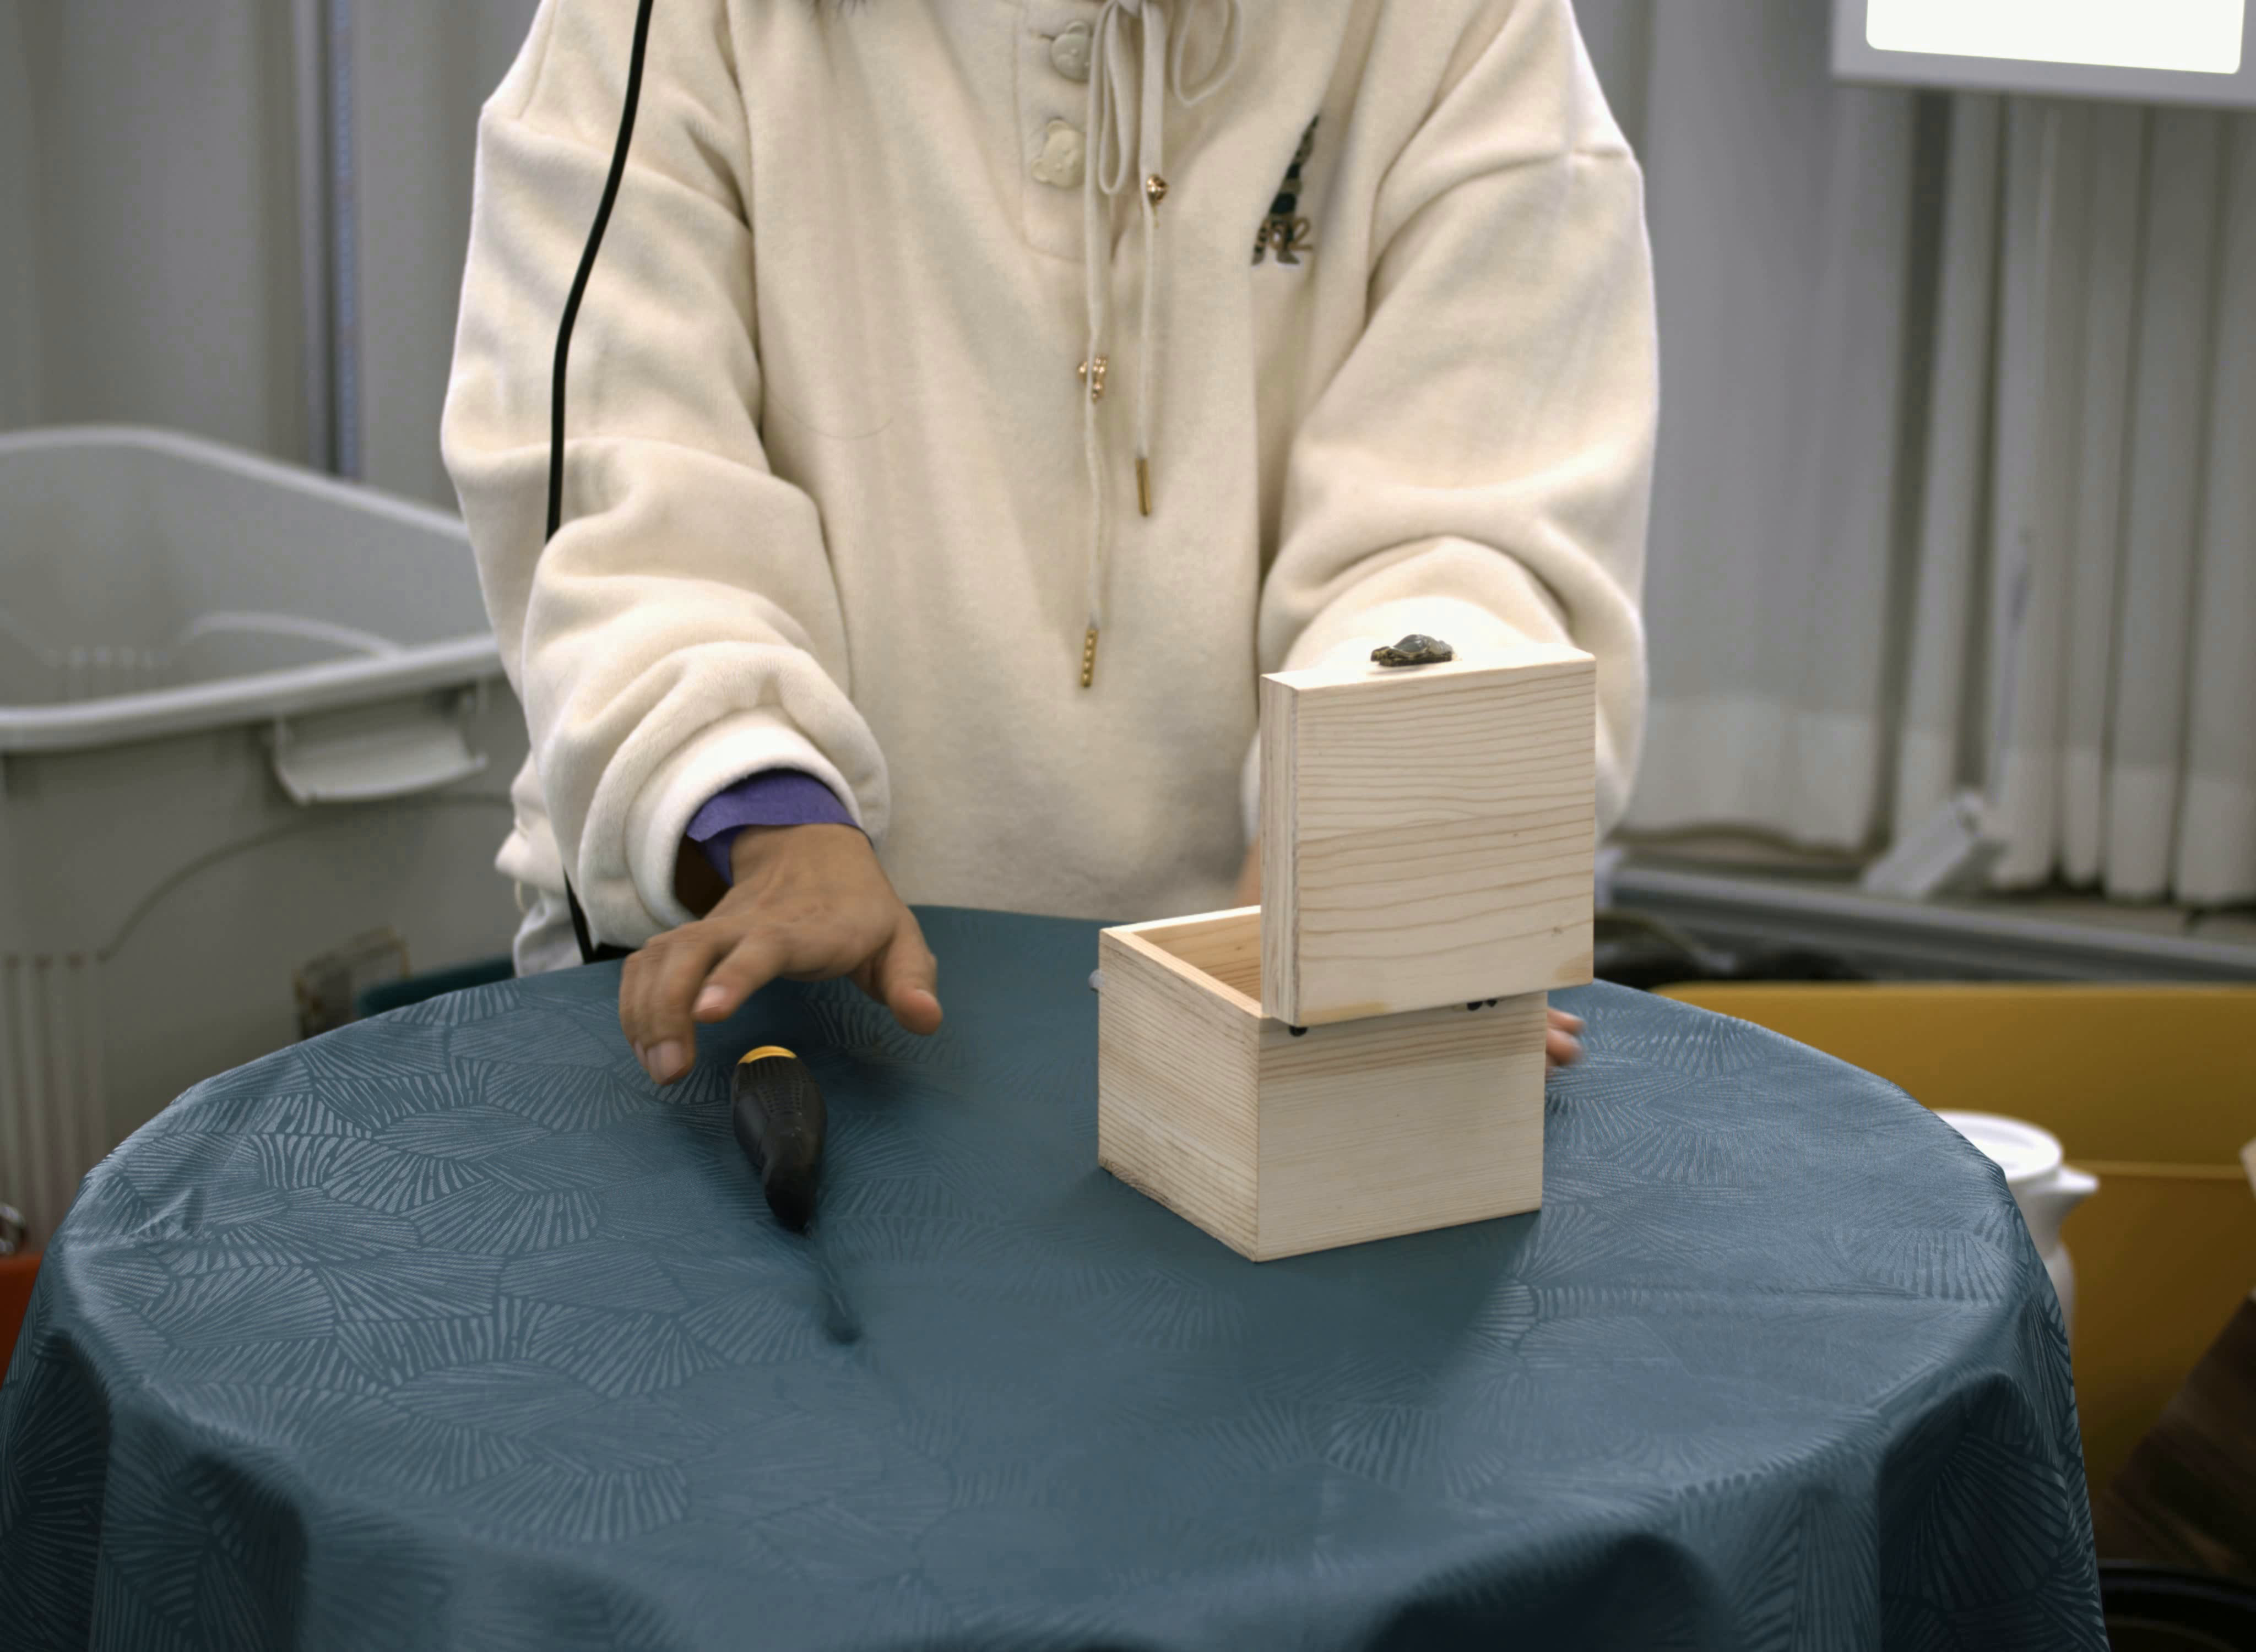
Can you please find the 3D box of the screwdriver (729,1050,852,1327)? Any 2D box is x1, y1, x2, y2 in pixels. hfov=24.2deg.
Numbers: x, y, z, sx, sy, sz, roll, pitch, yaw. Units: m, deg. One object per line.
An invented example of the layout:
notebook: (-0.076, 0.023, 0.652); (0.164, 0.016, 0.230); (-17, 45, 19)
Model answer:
screwdriver: (-0.102, 0.111, 1.583); (0.031, 0.032, 0.196); (-1, 18, -7)

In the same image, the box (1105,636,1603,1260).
box: (0.065, 0.025, 1.592); (0.103, 0.186, 0.132); (-9, 19, -28)
